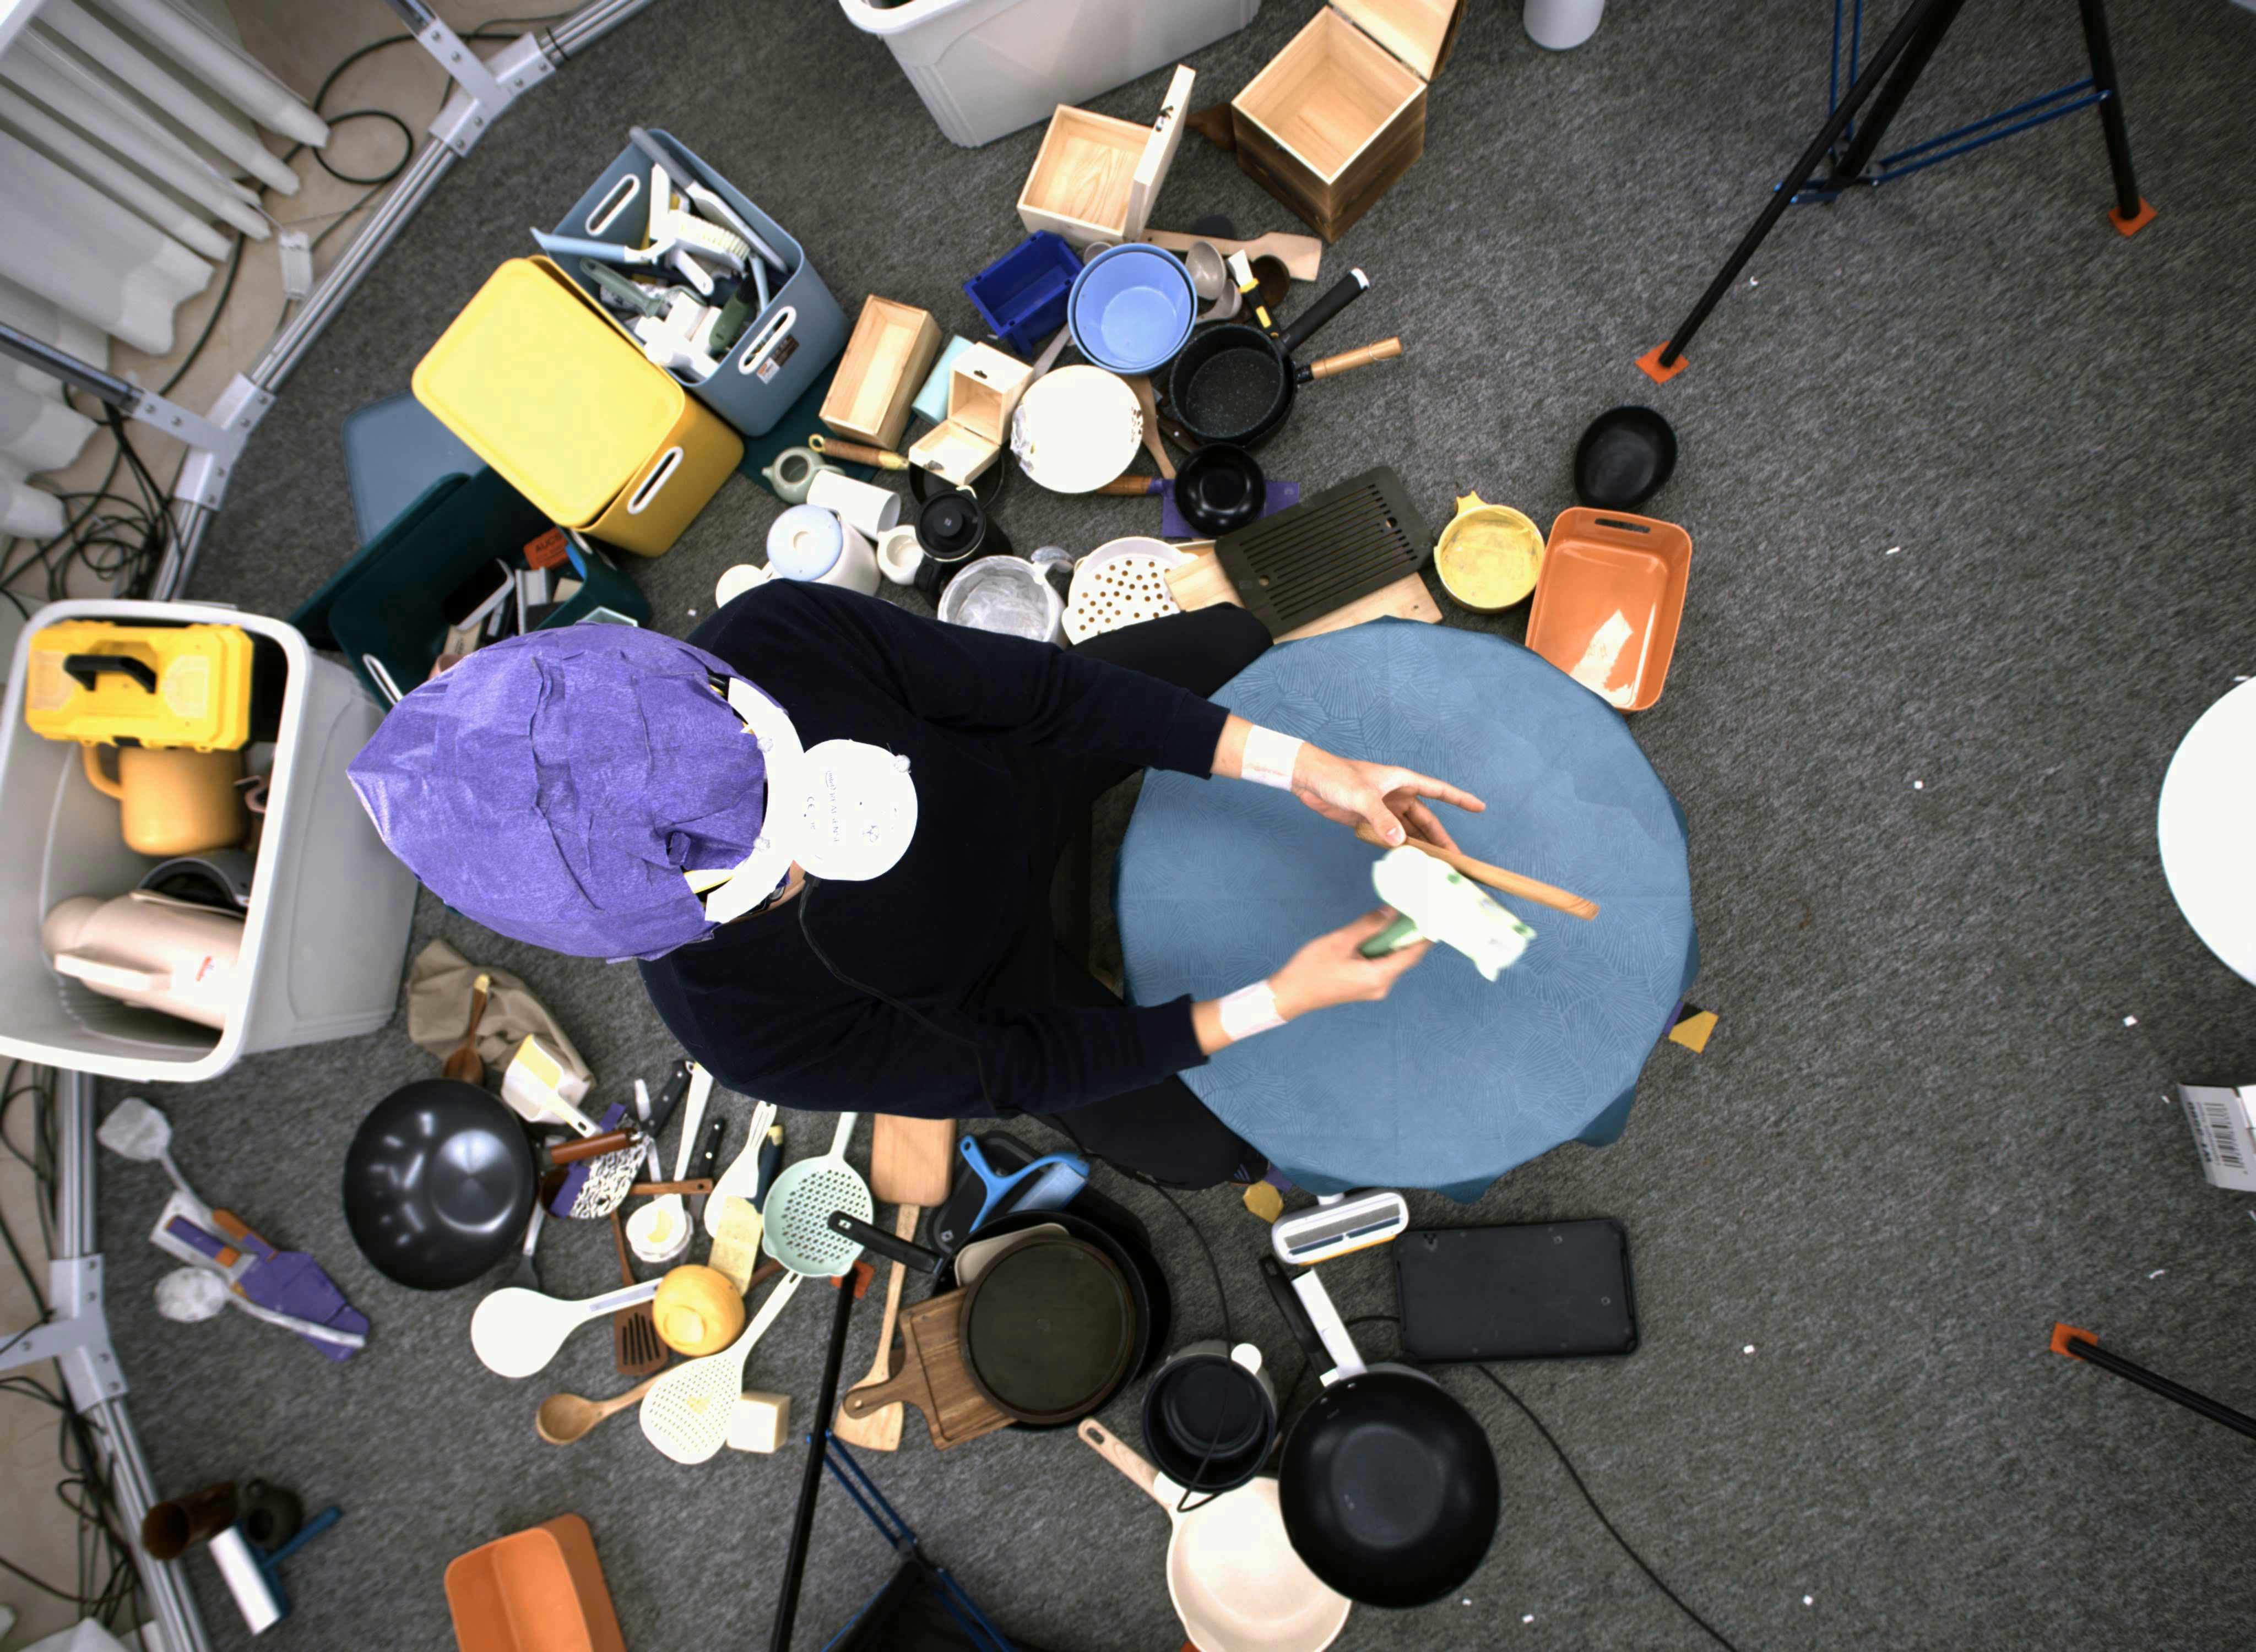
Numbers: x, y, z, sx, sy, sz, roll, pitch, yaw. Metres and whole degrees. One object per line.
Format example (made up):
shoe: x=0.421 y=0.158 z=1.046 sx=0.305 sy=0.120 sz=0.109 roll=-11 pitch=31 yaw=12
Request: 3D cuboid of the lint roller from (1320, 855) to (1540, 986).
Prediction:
lint roller: x=0.259 y=0.115 z=1.252 sx=0.186 sy=0.200 sz=0.080 roll=-36 pitch=49 yaw=23

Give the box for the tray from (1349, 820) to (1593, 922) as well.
tray: x=0.304 y=0.038 z=1.236 sx=0.231 sy=0.102 sz=0.020 roll=20 pitch=90 yaw=30
